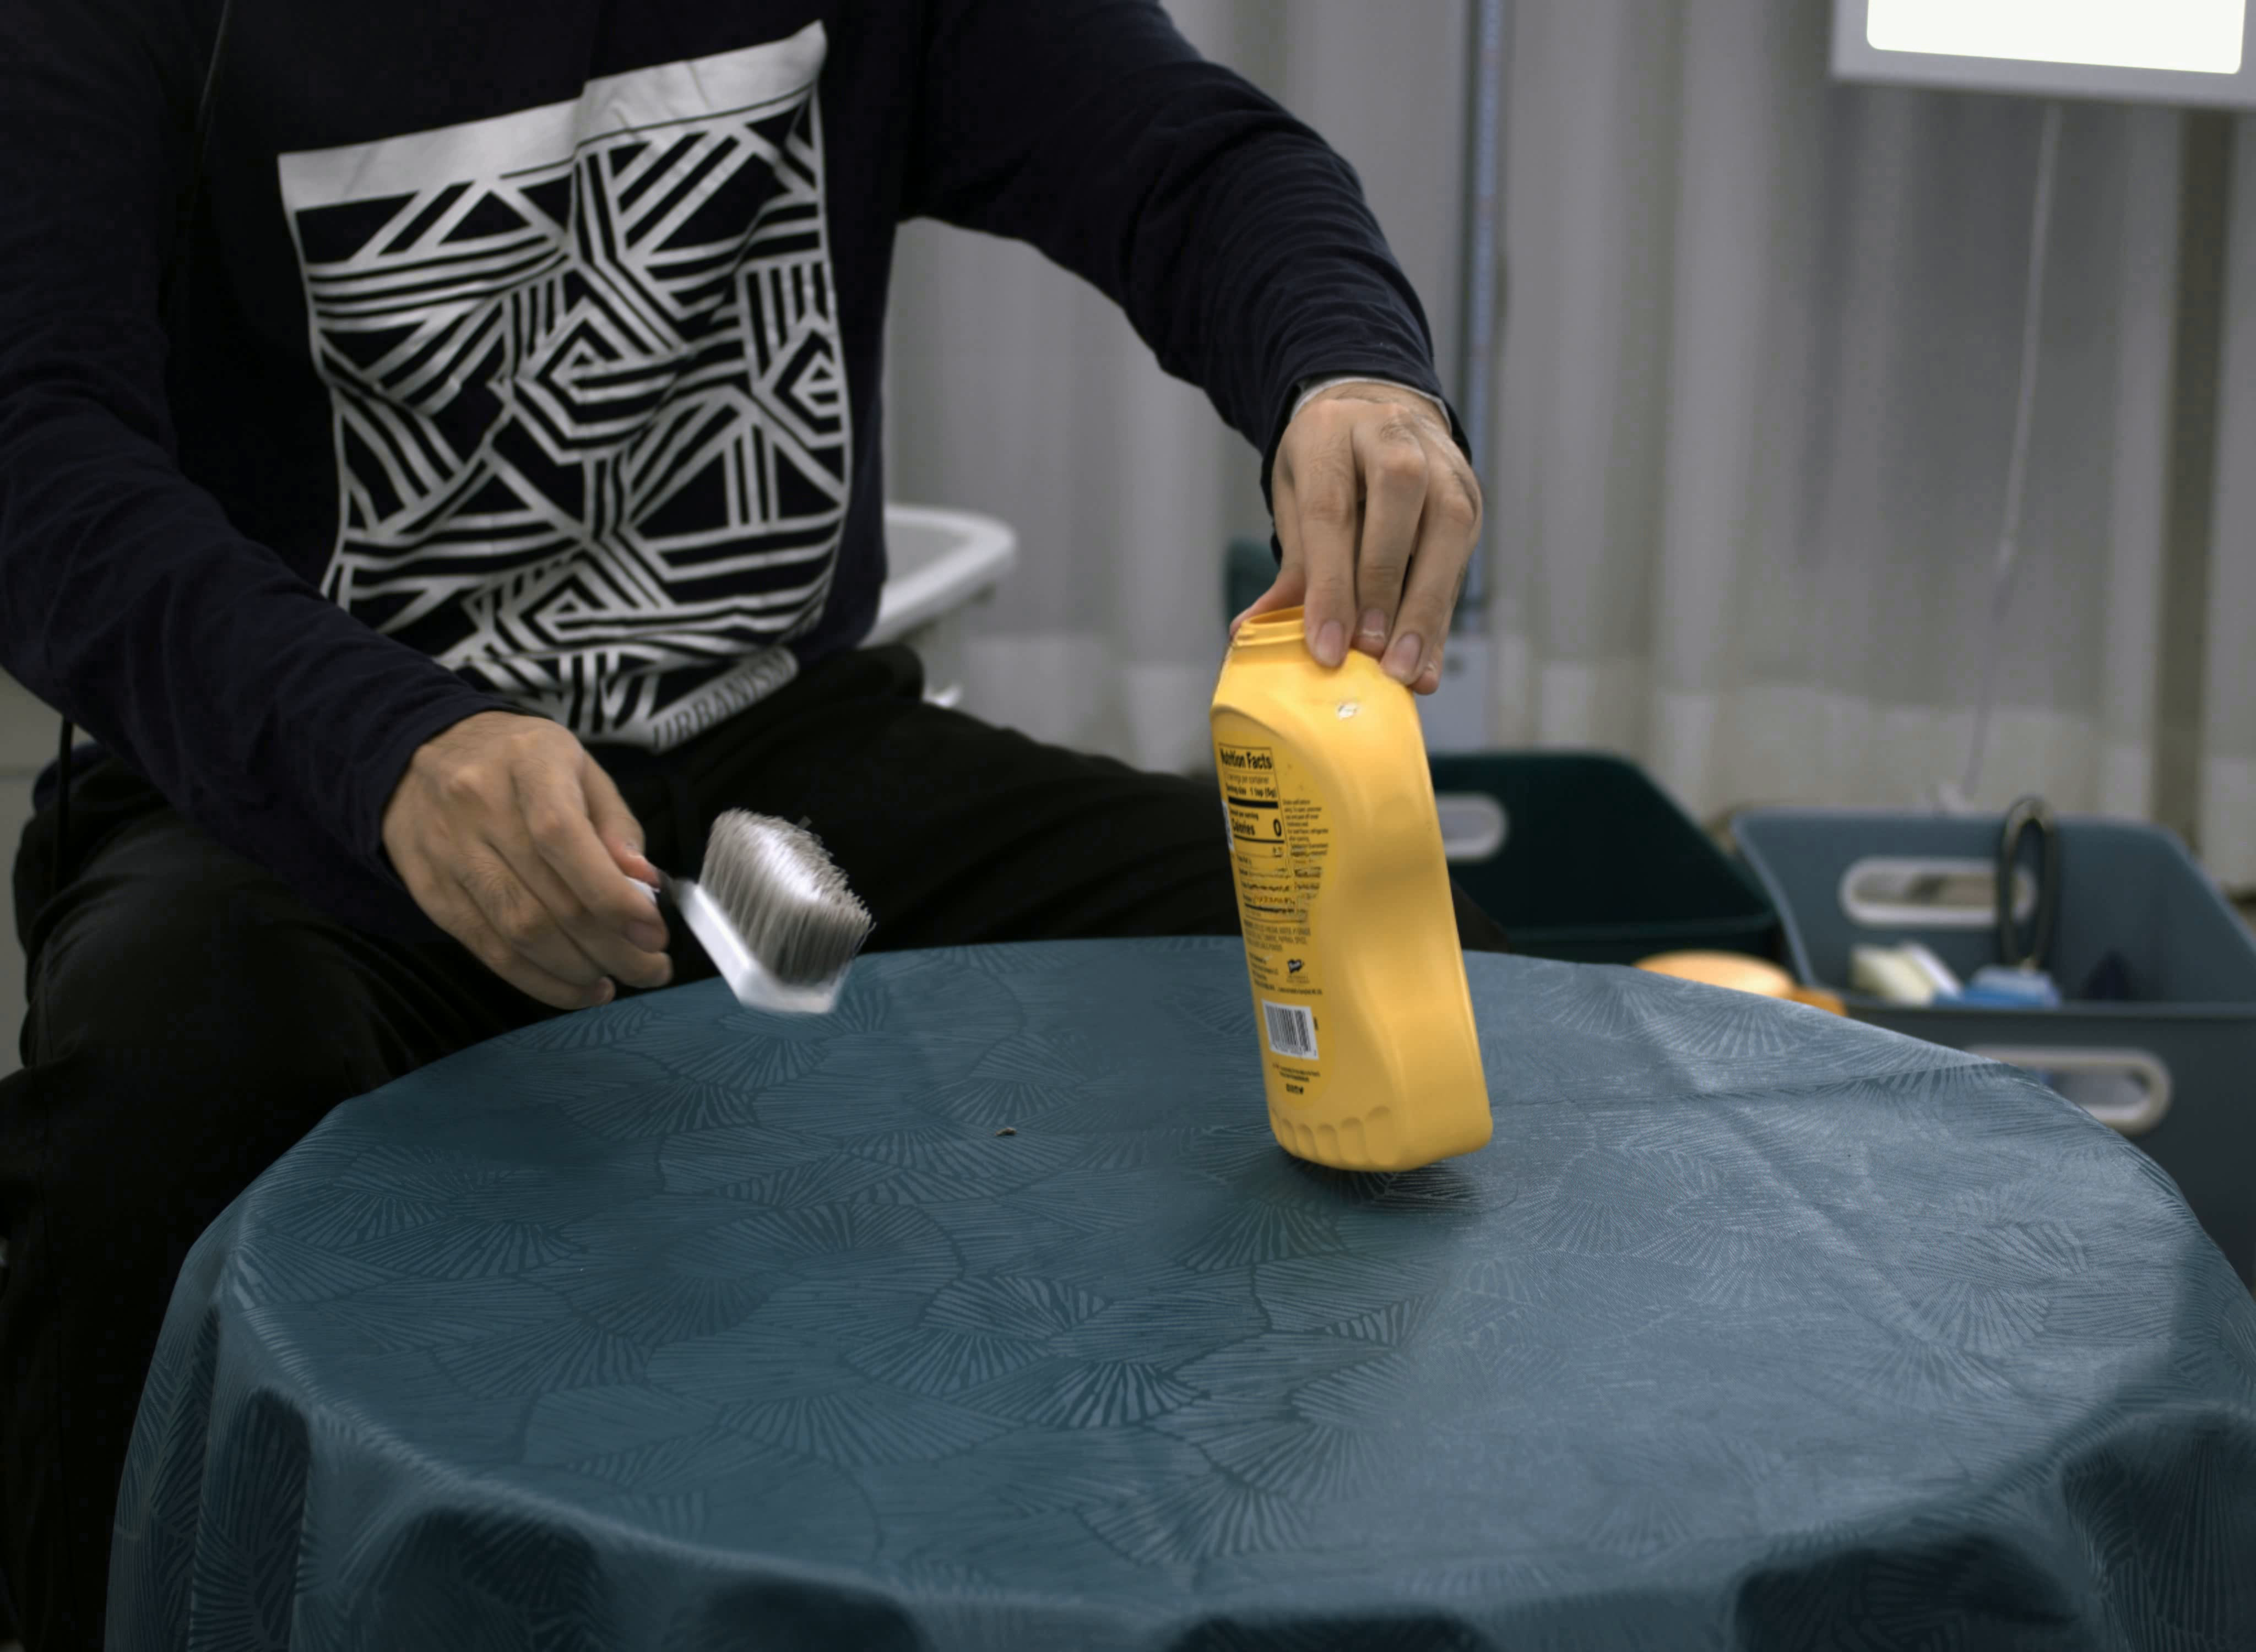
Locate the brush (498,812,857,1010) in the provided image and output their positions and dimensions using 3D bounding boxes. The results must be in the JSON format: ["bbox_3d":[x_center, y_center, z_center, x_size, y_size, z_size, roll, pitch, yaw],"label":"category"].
[{"bbox_3d":[-0.144,0.012,1.631,0.034,0.050,0.241,13,3,-27],"label":"brush"}]

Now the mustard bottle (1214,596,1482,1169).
[{"bbox_3d":[0.065,0.016,1.628,0.059,0.173,0.097,-12,9,-29],"label":"mustard bottle"}]
